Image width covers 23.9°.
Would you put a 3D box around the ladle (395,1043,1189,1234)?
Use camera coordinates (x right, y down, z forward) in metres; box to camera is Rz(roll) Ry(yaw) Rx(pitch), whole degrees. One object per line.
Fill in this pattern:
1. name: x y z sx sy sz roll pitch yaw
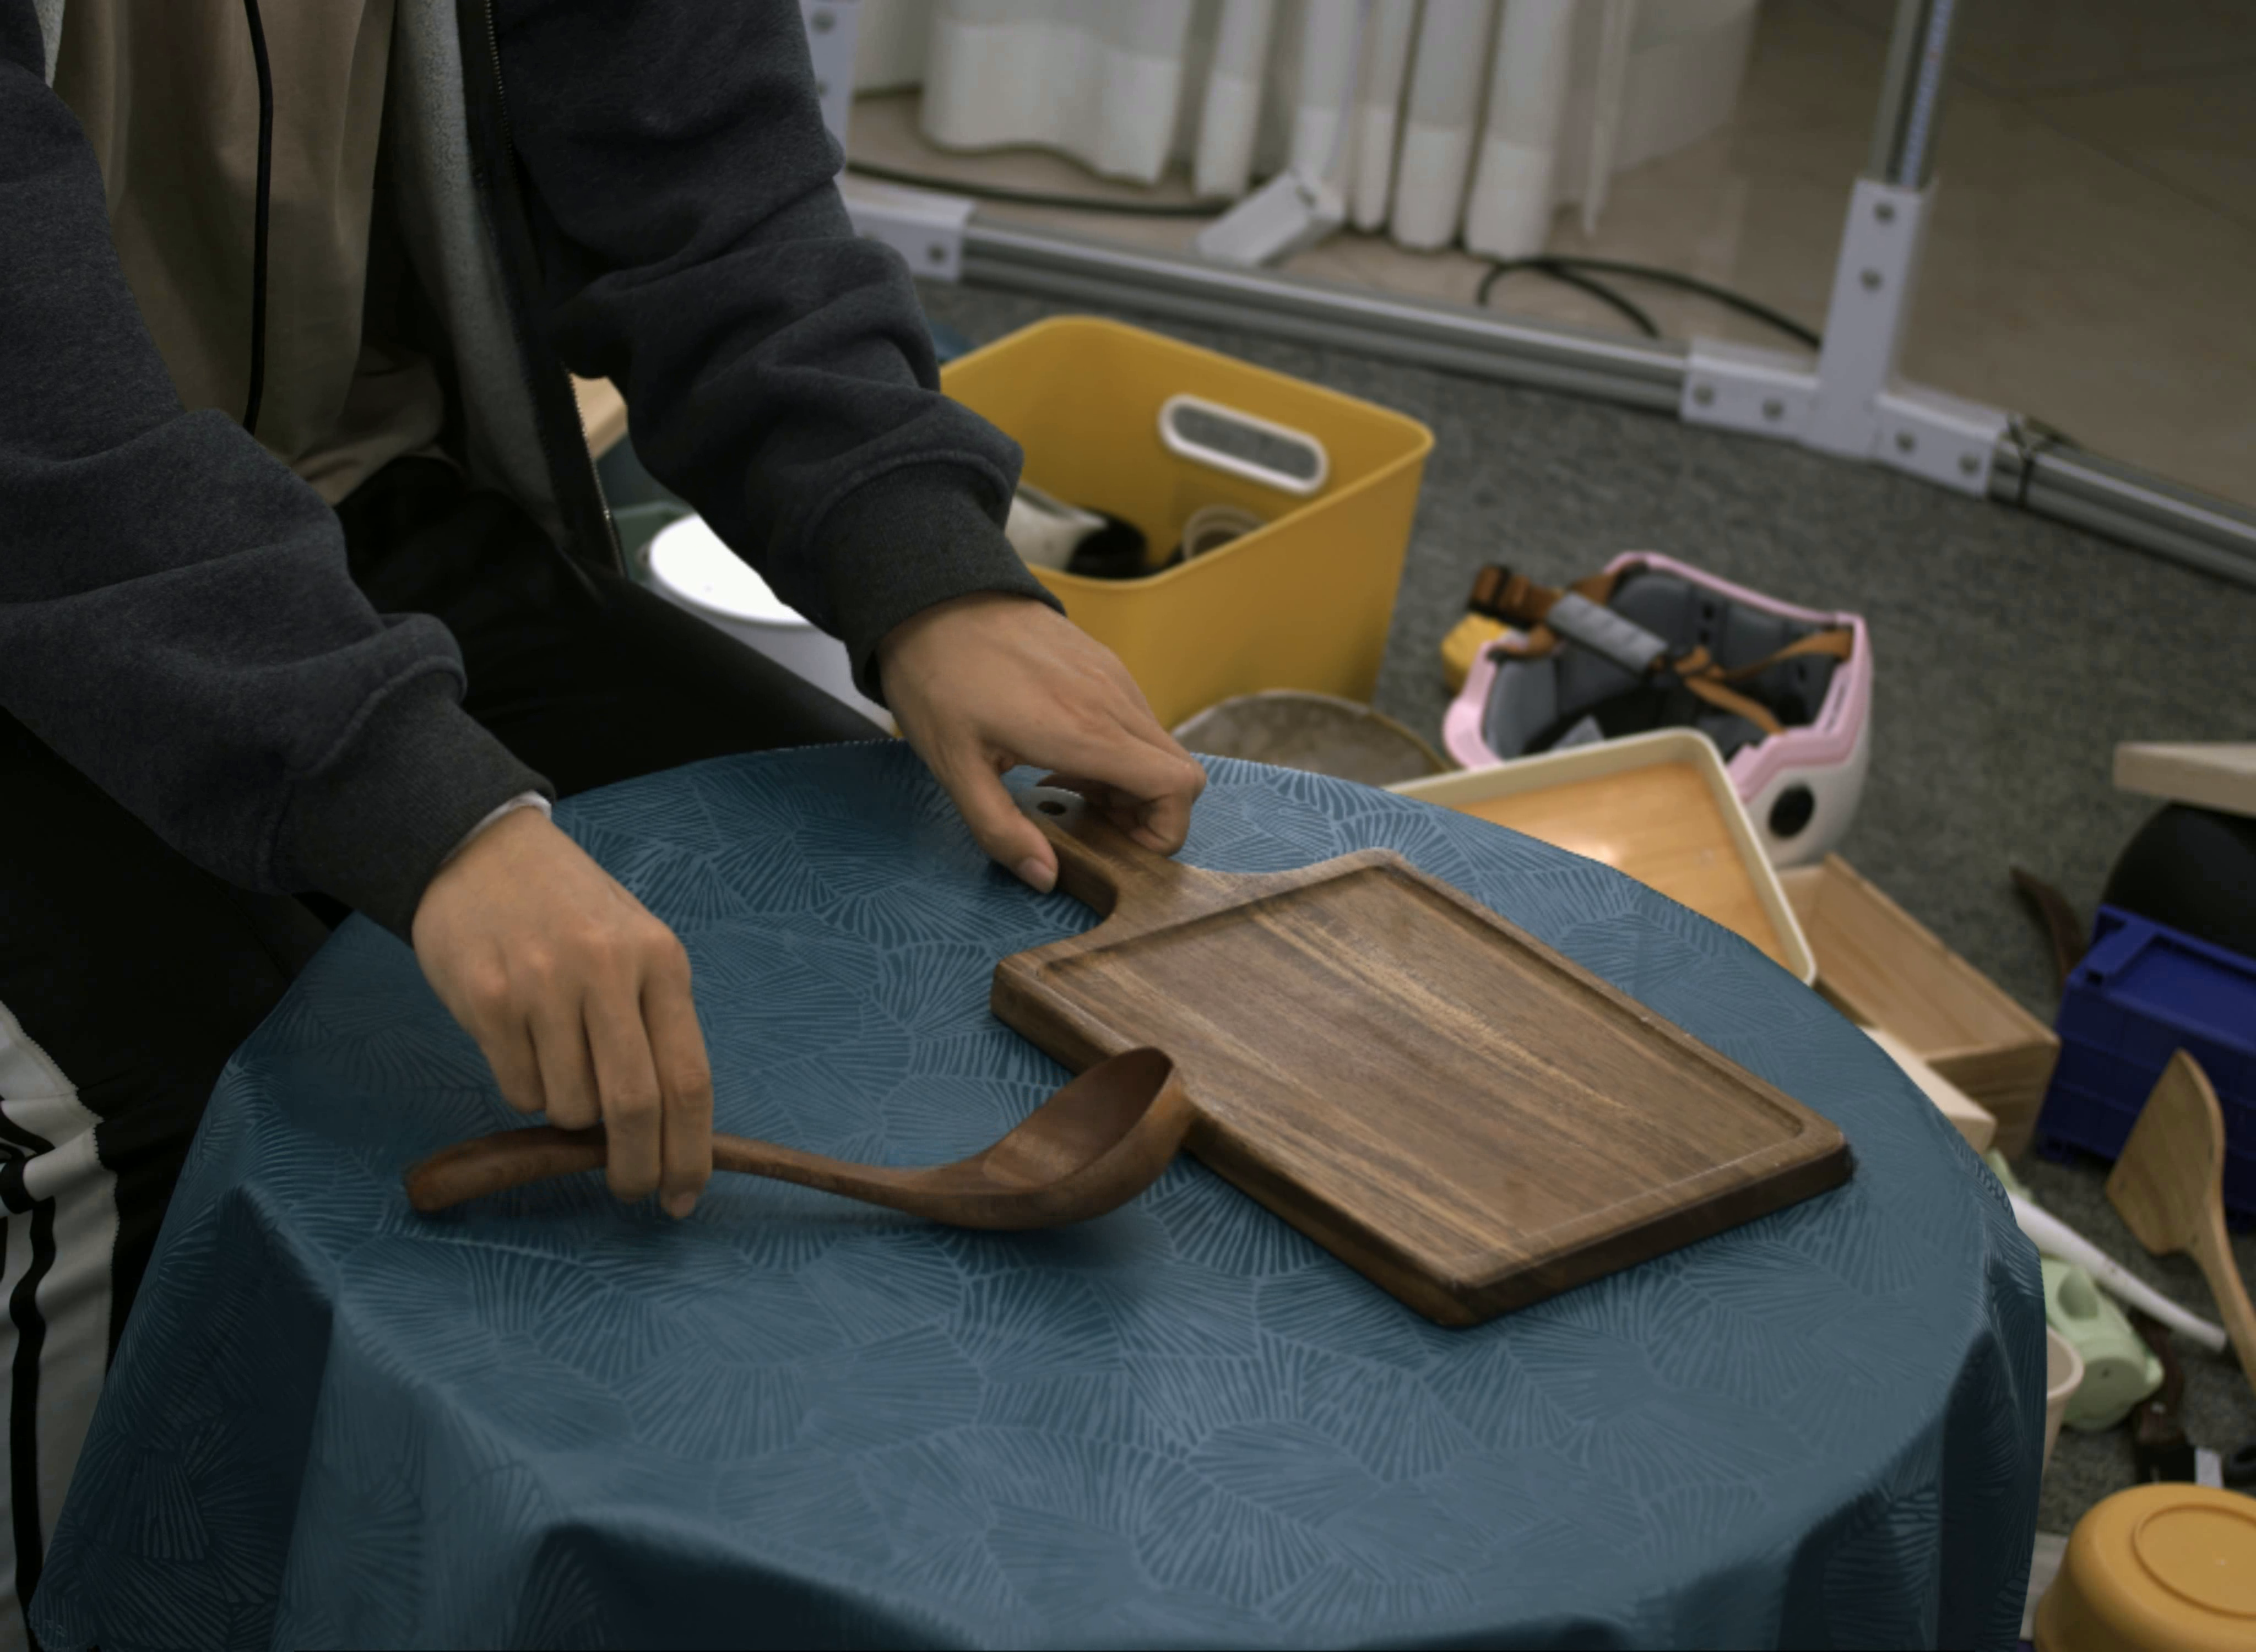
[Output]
1. ladle: -0.109 0.100 1.751 0.259 0.065 0.077 3 12 -8

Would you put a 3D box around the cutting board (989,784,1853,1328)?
1. cutting board: 0.070 0.066 1.906 0.200 0.023 0.355 -15 34 -38
